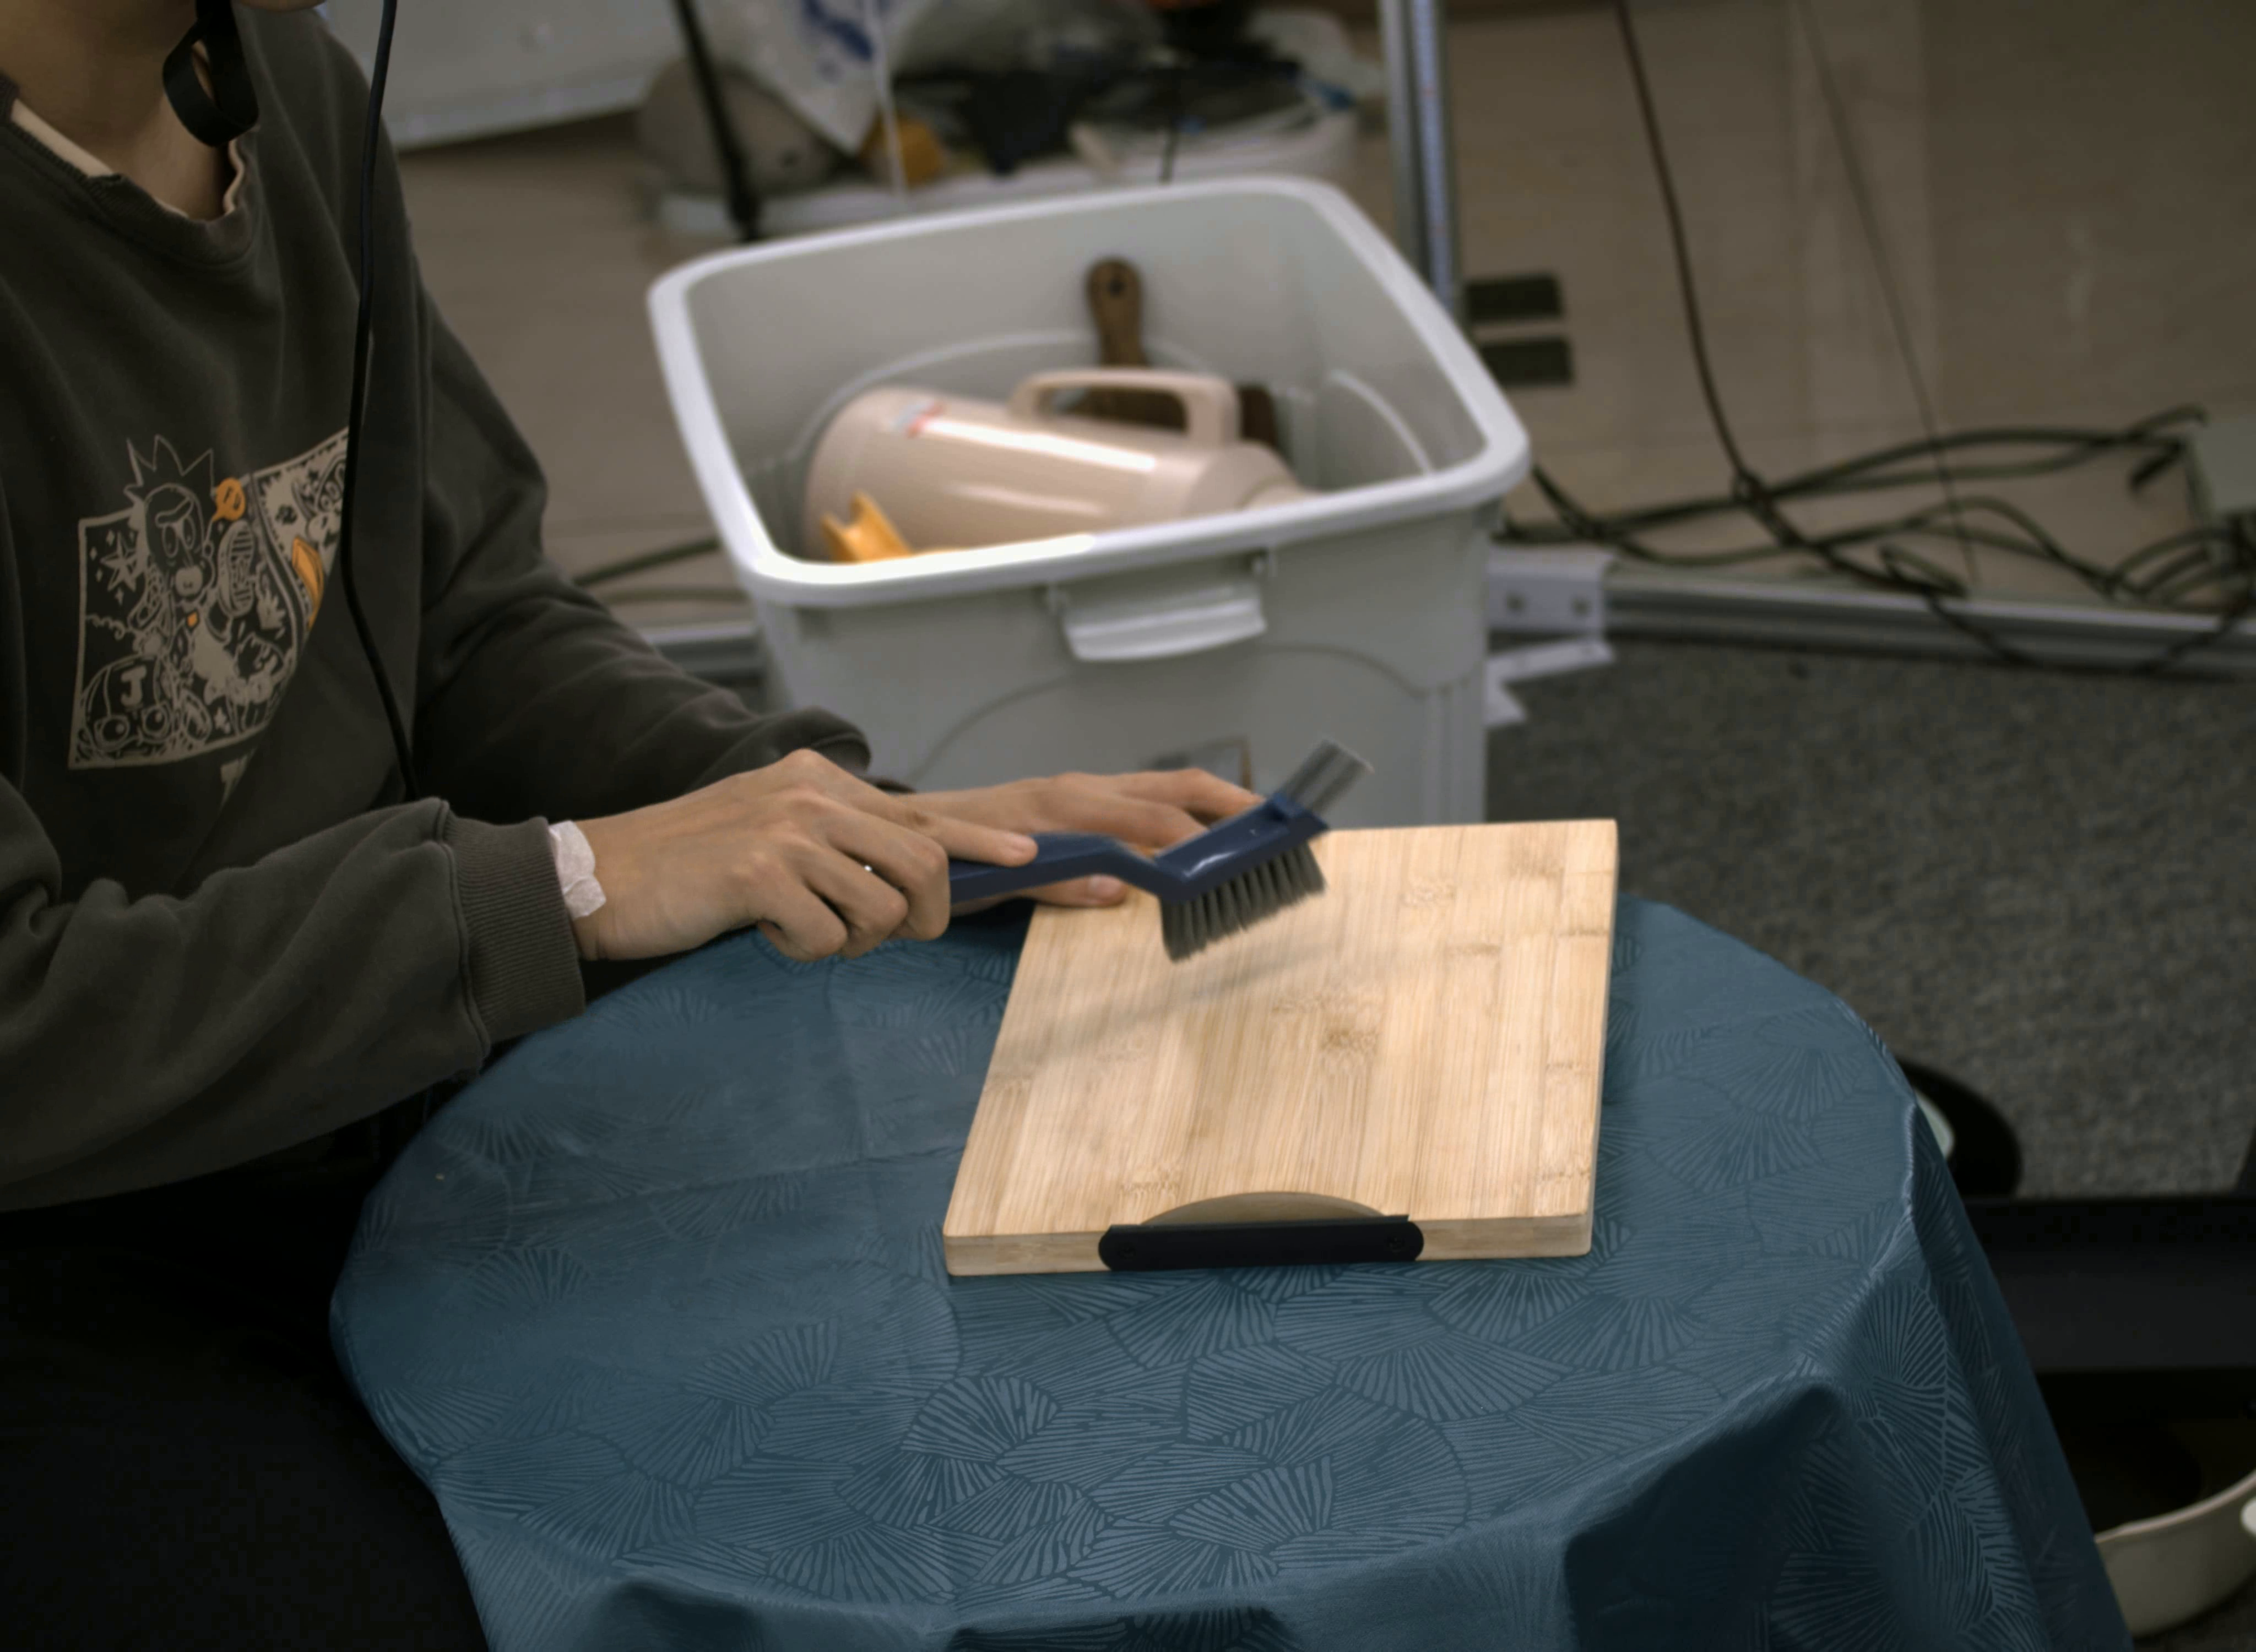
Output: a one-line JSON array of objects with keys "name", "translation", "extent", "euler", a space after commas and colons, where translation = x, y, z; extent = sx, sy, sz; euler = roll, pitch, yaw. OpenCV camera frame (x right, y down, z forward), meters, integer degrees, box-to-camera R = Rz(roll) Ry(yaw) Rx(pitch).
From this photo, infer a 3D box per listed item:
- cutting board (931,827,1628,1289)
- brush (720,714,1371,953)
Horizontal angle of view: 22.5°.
[{"name": "cutting board", "translation": [0.067, 0.086, 2.226], "extent": [0.250, 0.024, 0.343], "euler": [-4, 25, 8]}, {"name": "brush", "translation": [-0.029, 0.005, 2.196], "extent": [0.273, 0.097, 0.033], "euler": [-3, 30, -36]}]
